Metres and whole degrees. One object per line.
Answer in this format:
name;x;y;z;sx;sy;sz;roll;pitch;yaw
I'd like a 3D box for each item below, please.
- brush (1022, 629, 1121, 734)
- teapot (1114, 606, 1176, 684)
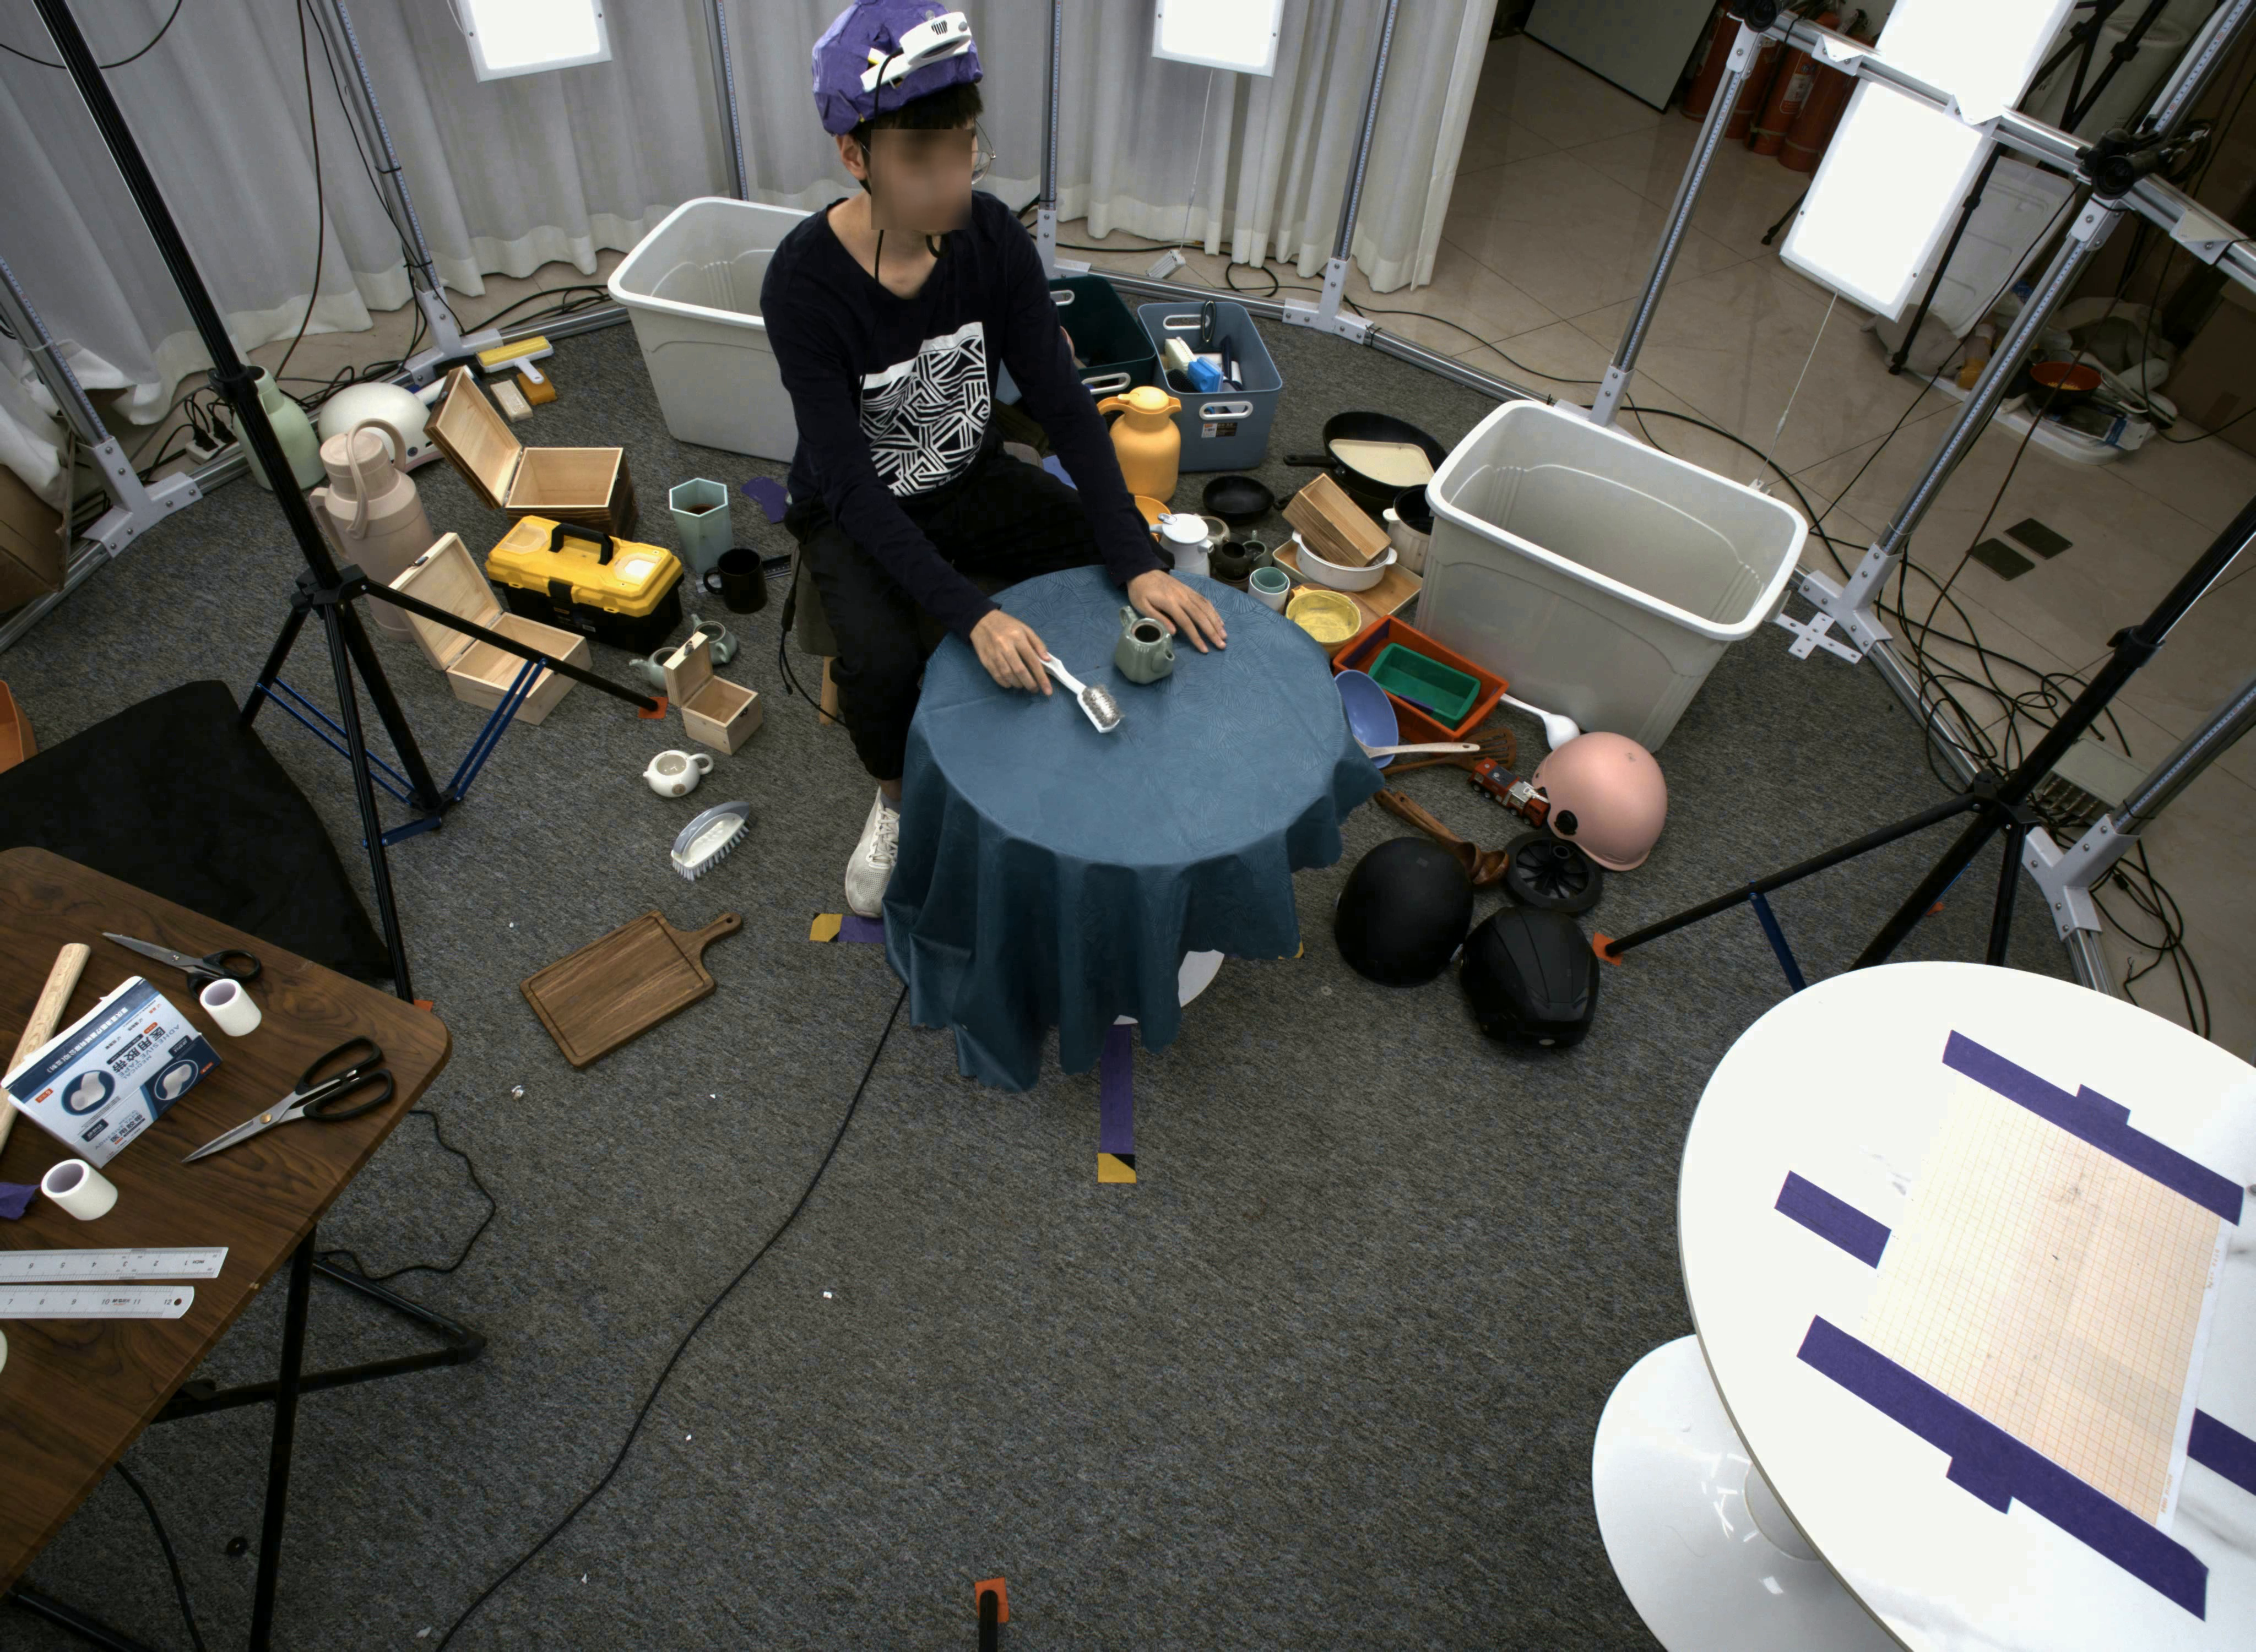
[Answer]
brush;-0.085;-0.219;1.822;0.034;0.049;0.248;-27;56;-17
teapot;0.026;-0.255;1.844;0.080;0.073;0.135;-24;54;-22
